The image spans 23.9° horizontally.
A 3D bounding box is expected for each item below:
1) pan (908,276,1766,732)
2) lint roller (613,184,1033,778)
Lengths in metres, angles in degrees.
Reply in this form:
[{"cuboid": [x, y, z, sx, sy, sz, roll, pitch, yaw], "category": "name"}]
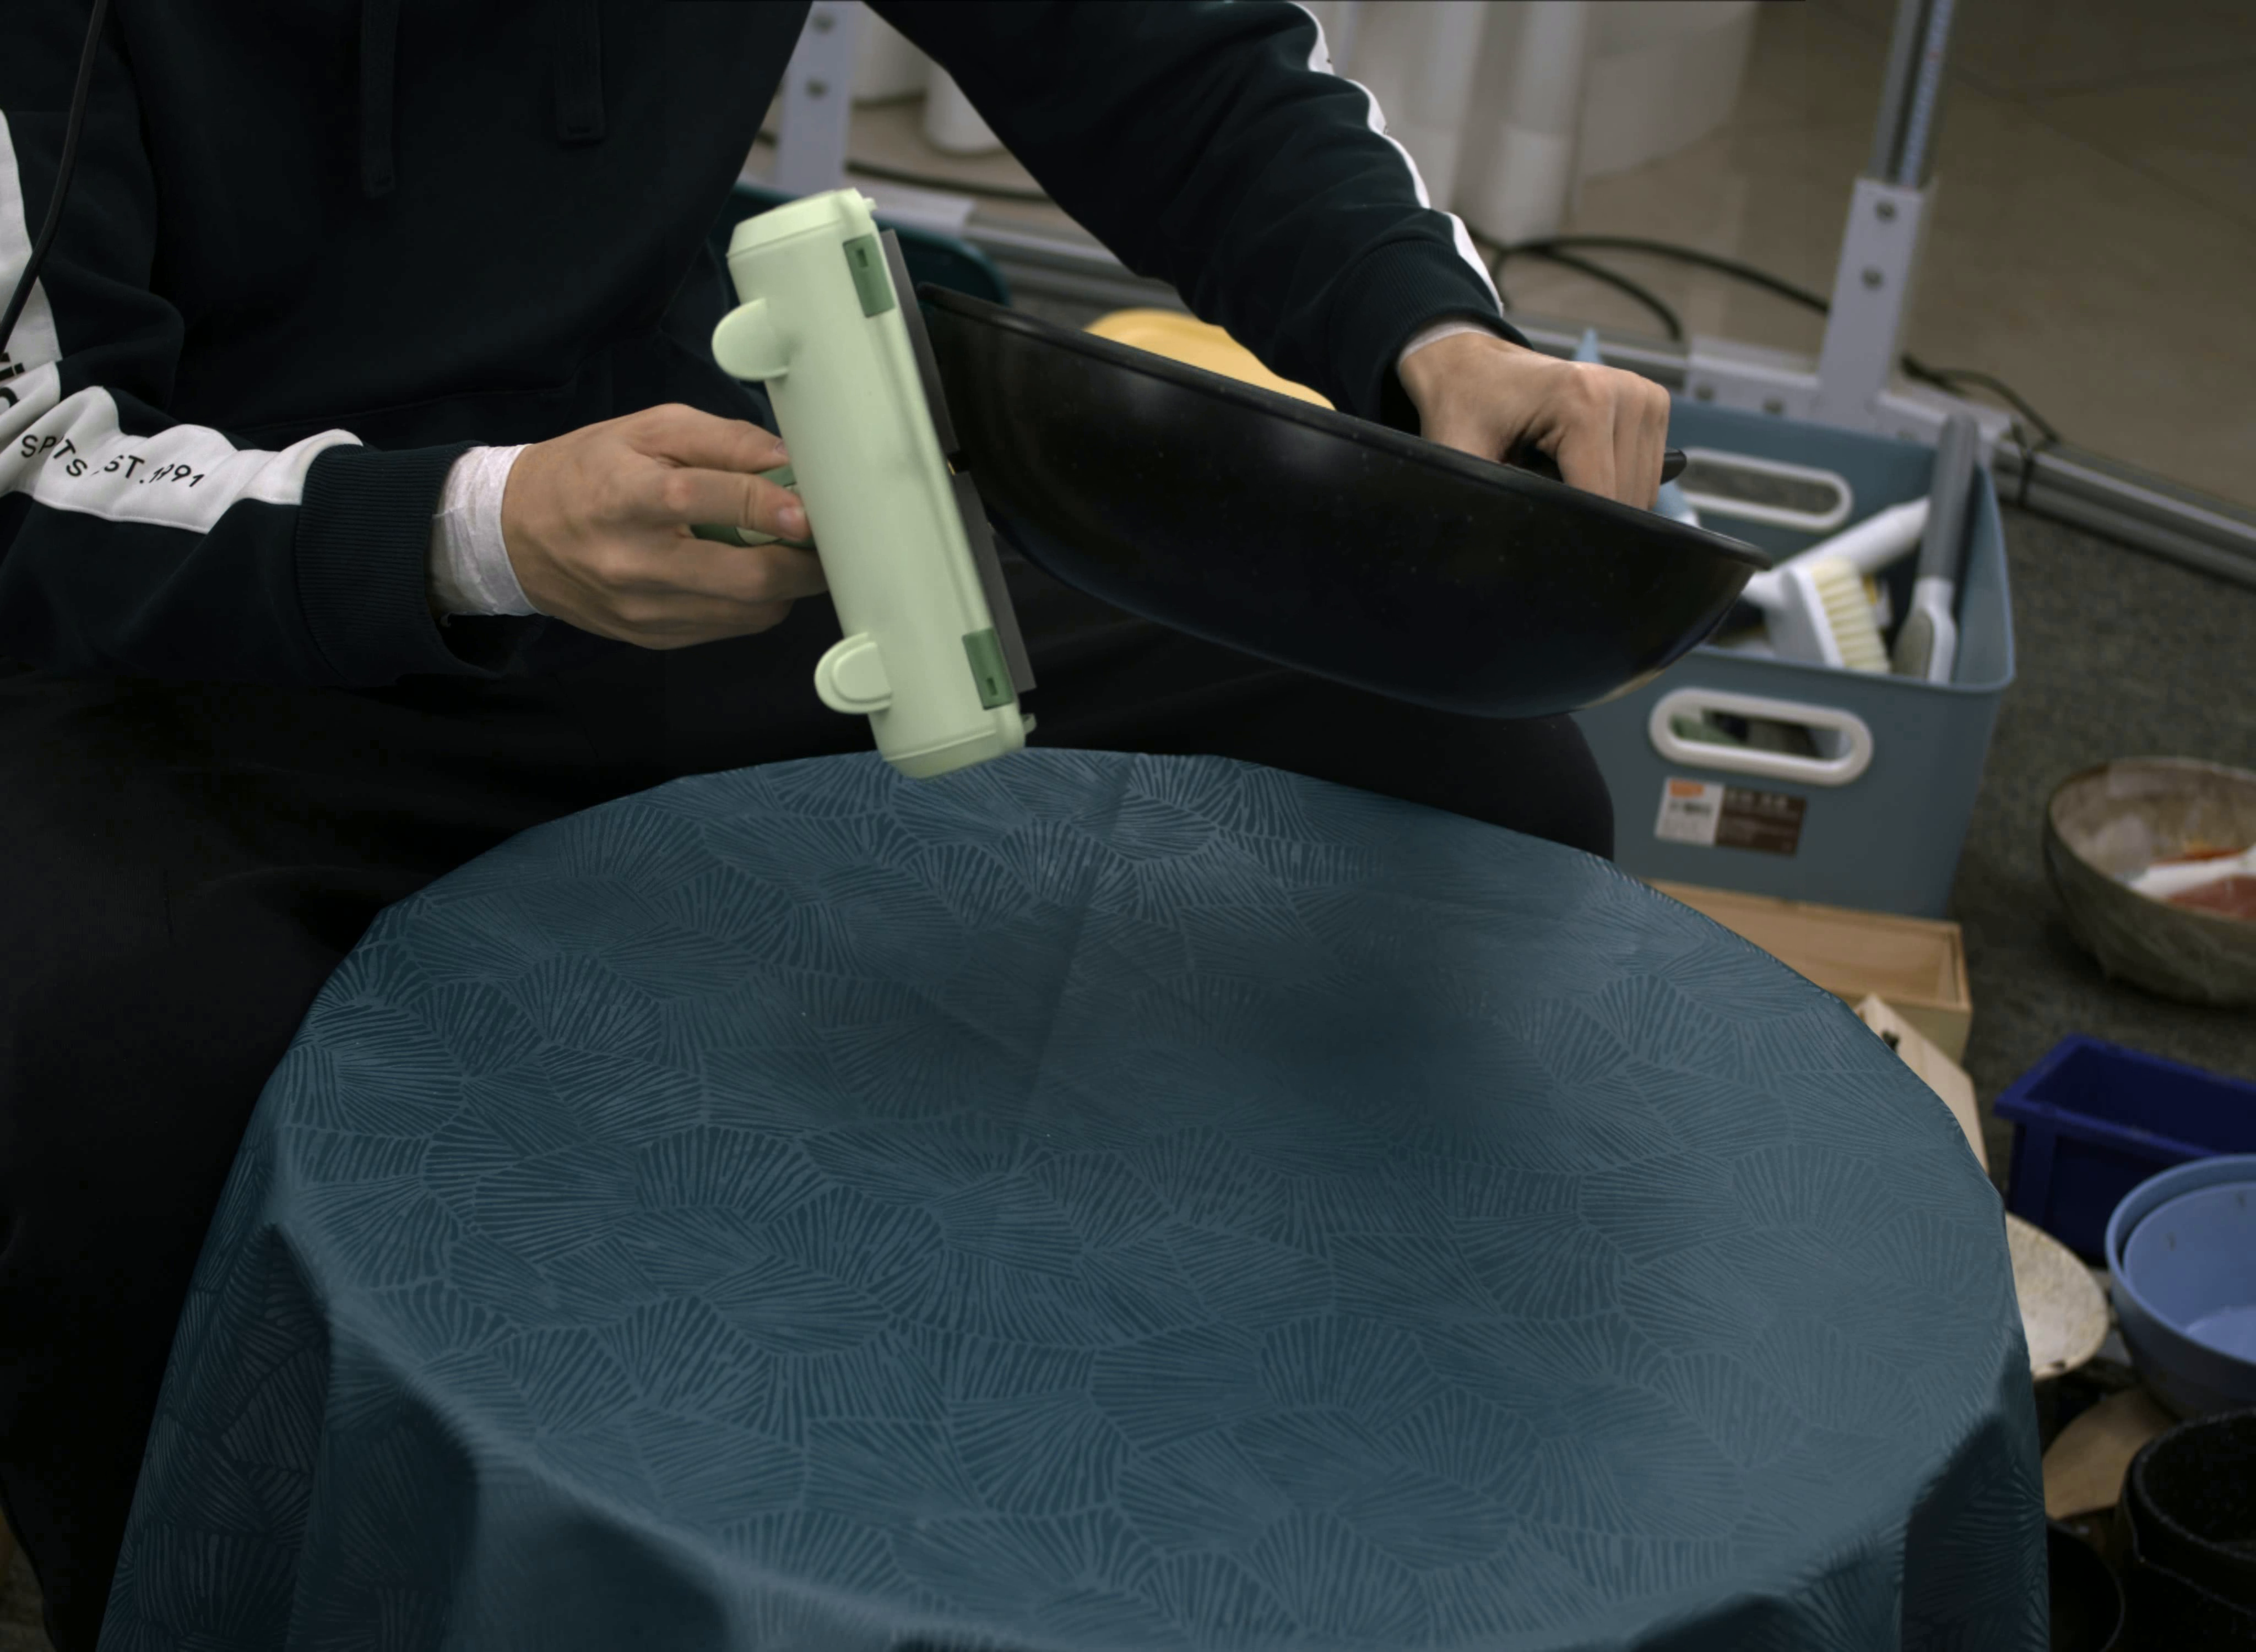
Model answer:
[{"cuboid": [0.097, -0.106, 1.898, 0.311, 0.112, 0.474, 21, 6, 24], "category": "pan"}, {"cuboid": [-0.129, -0.104, 1.811, 0.184, 0.199, 0.082, -13, 6, 39], "category": "lint roller"}]
